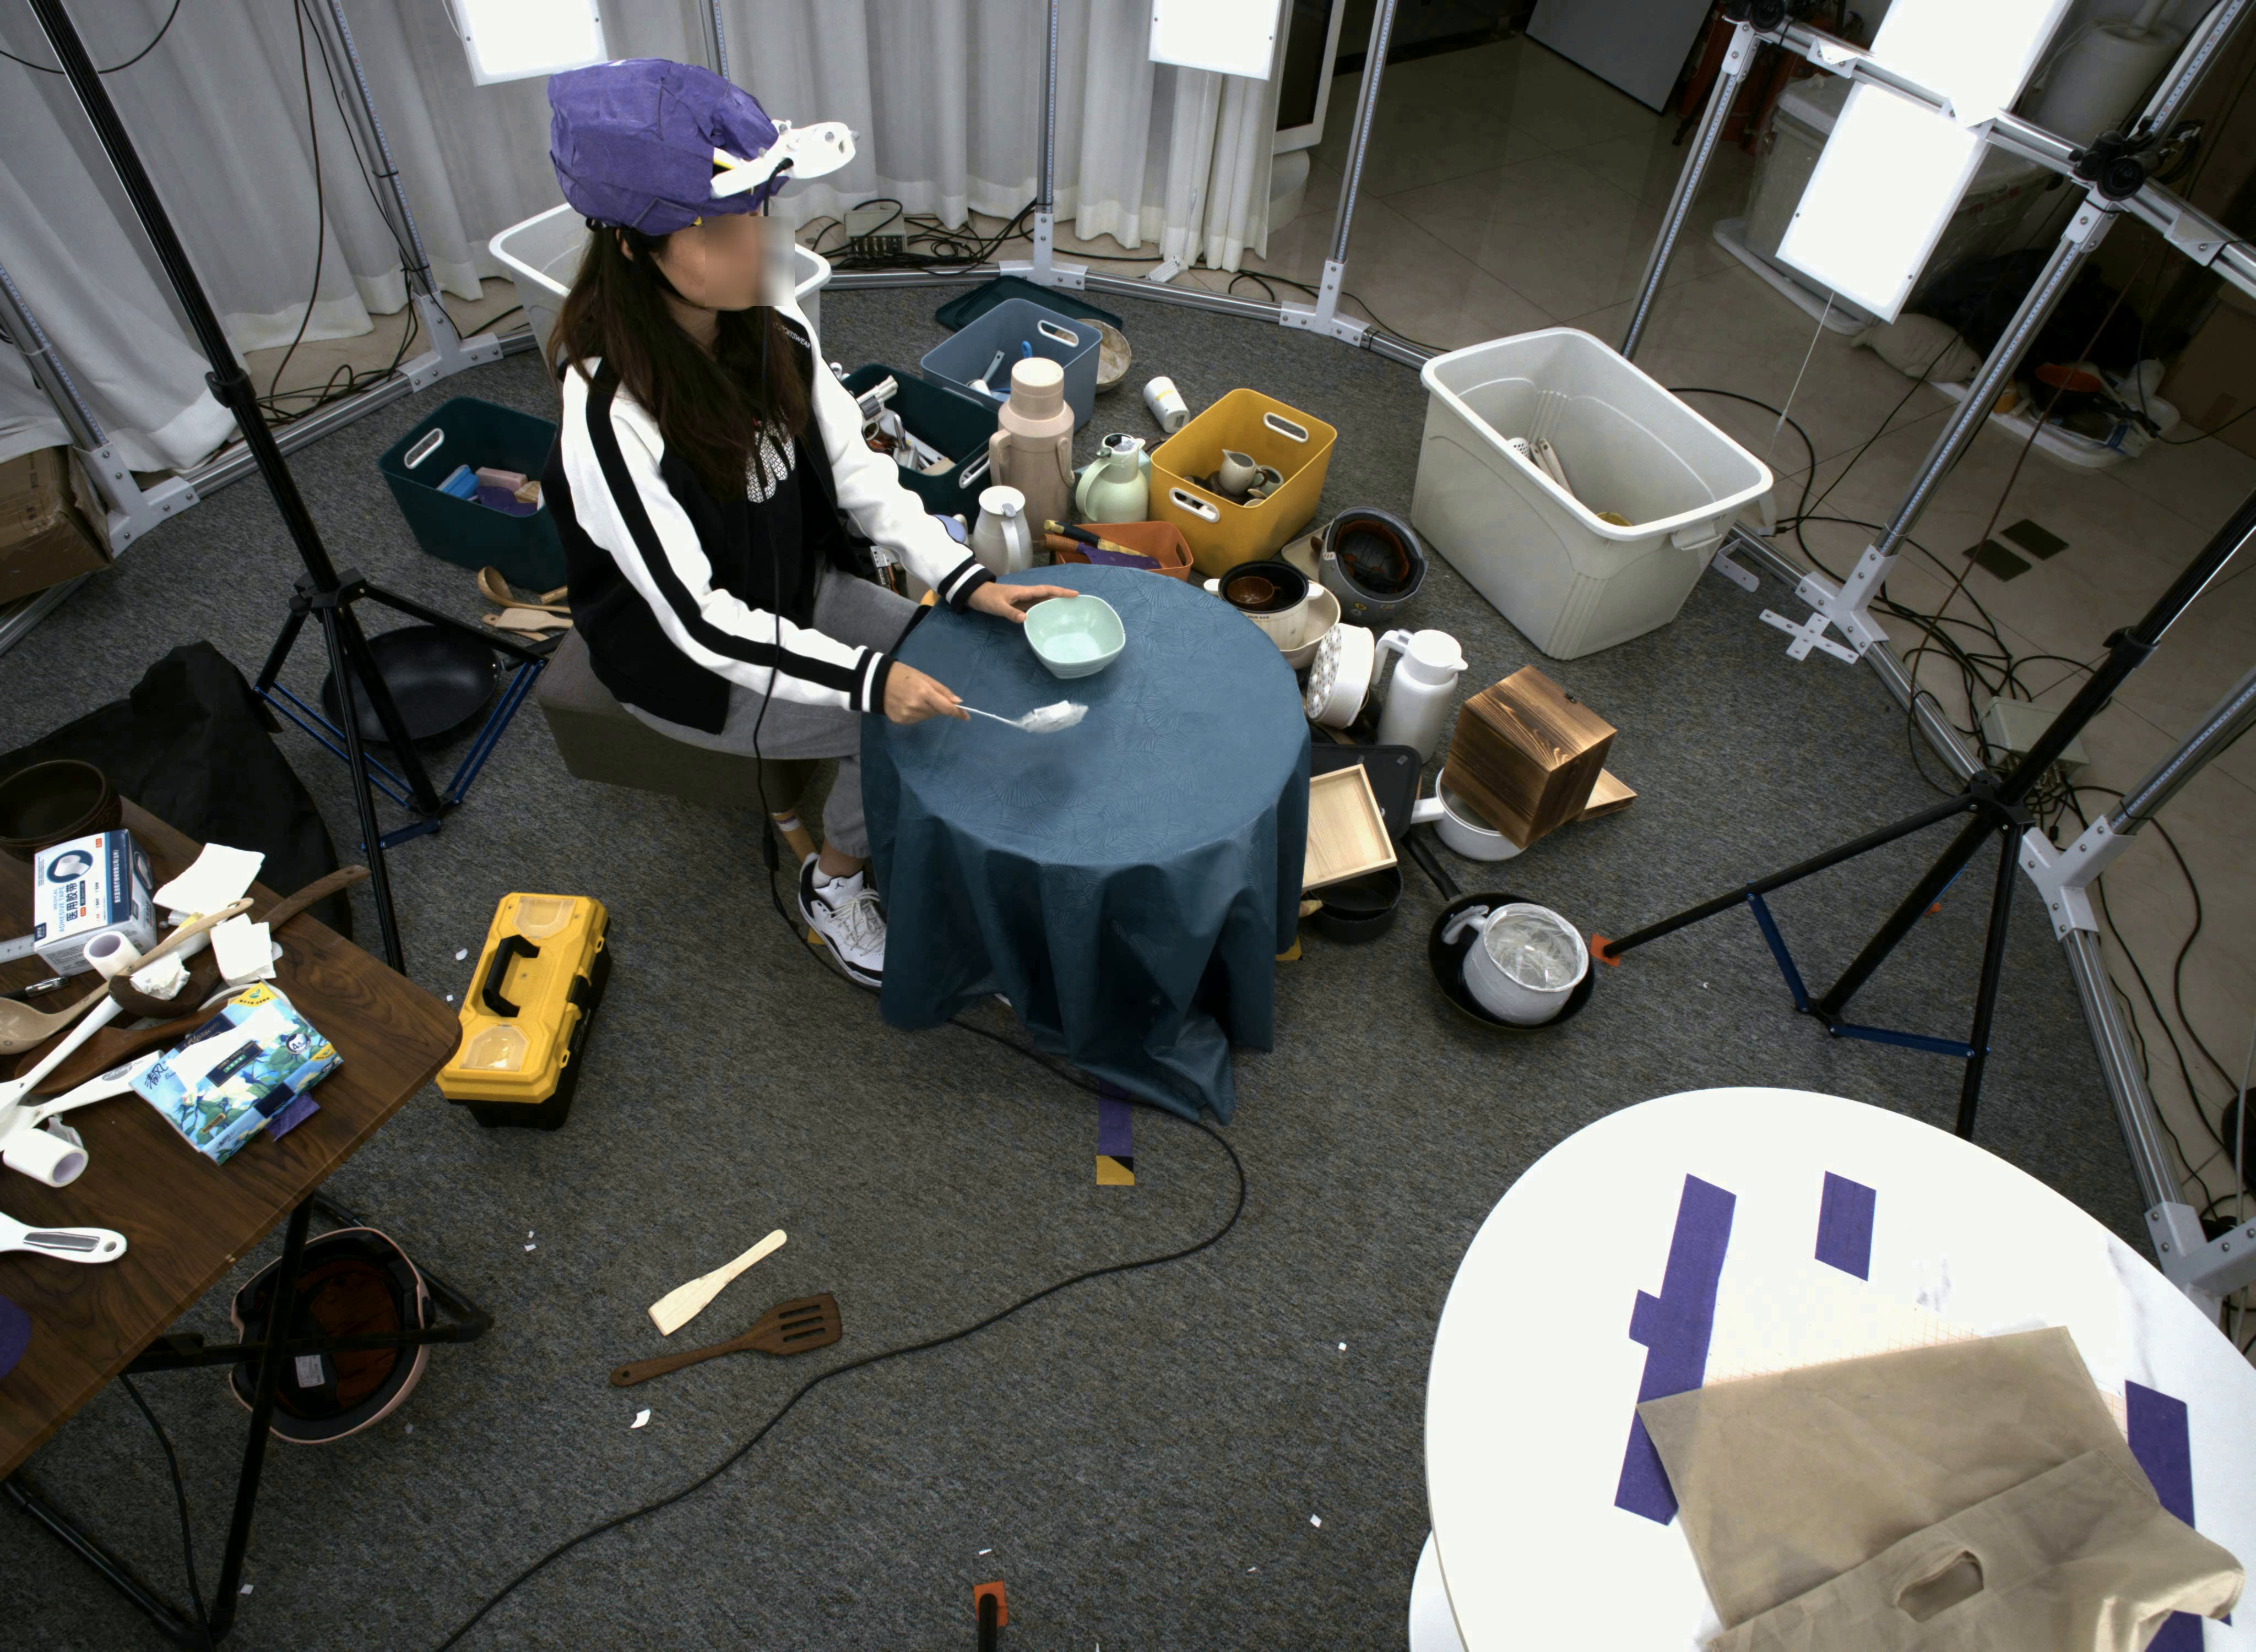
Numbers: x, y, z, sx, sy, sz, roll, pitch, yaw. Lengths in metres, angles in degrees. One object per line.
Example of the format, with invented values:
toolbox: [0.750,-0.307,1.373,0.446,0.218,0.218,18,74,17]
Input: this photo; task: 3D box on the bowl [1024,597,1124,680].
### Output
bowl: [-0.079,-0.264,1.859,0.151,0.057,0.155,2,49,-2]

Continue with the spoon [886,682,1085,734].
spoon: [-0.191,-0.174,1.710,0.279,0.099,0.060,18,82,19]
